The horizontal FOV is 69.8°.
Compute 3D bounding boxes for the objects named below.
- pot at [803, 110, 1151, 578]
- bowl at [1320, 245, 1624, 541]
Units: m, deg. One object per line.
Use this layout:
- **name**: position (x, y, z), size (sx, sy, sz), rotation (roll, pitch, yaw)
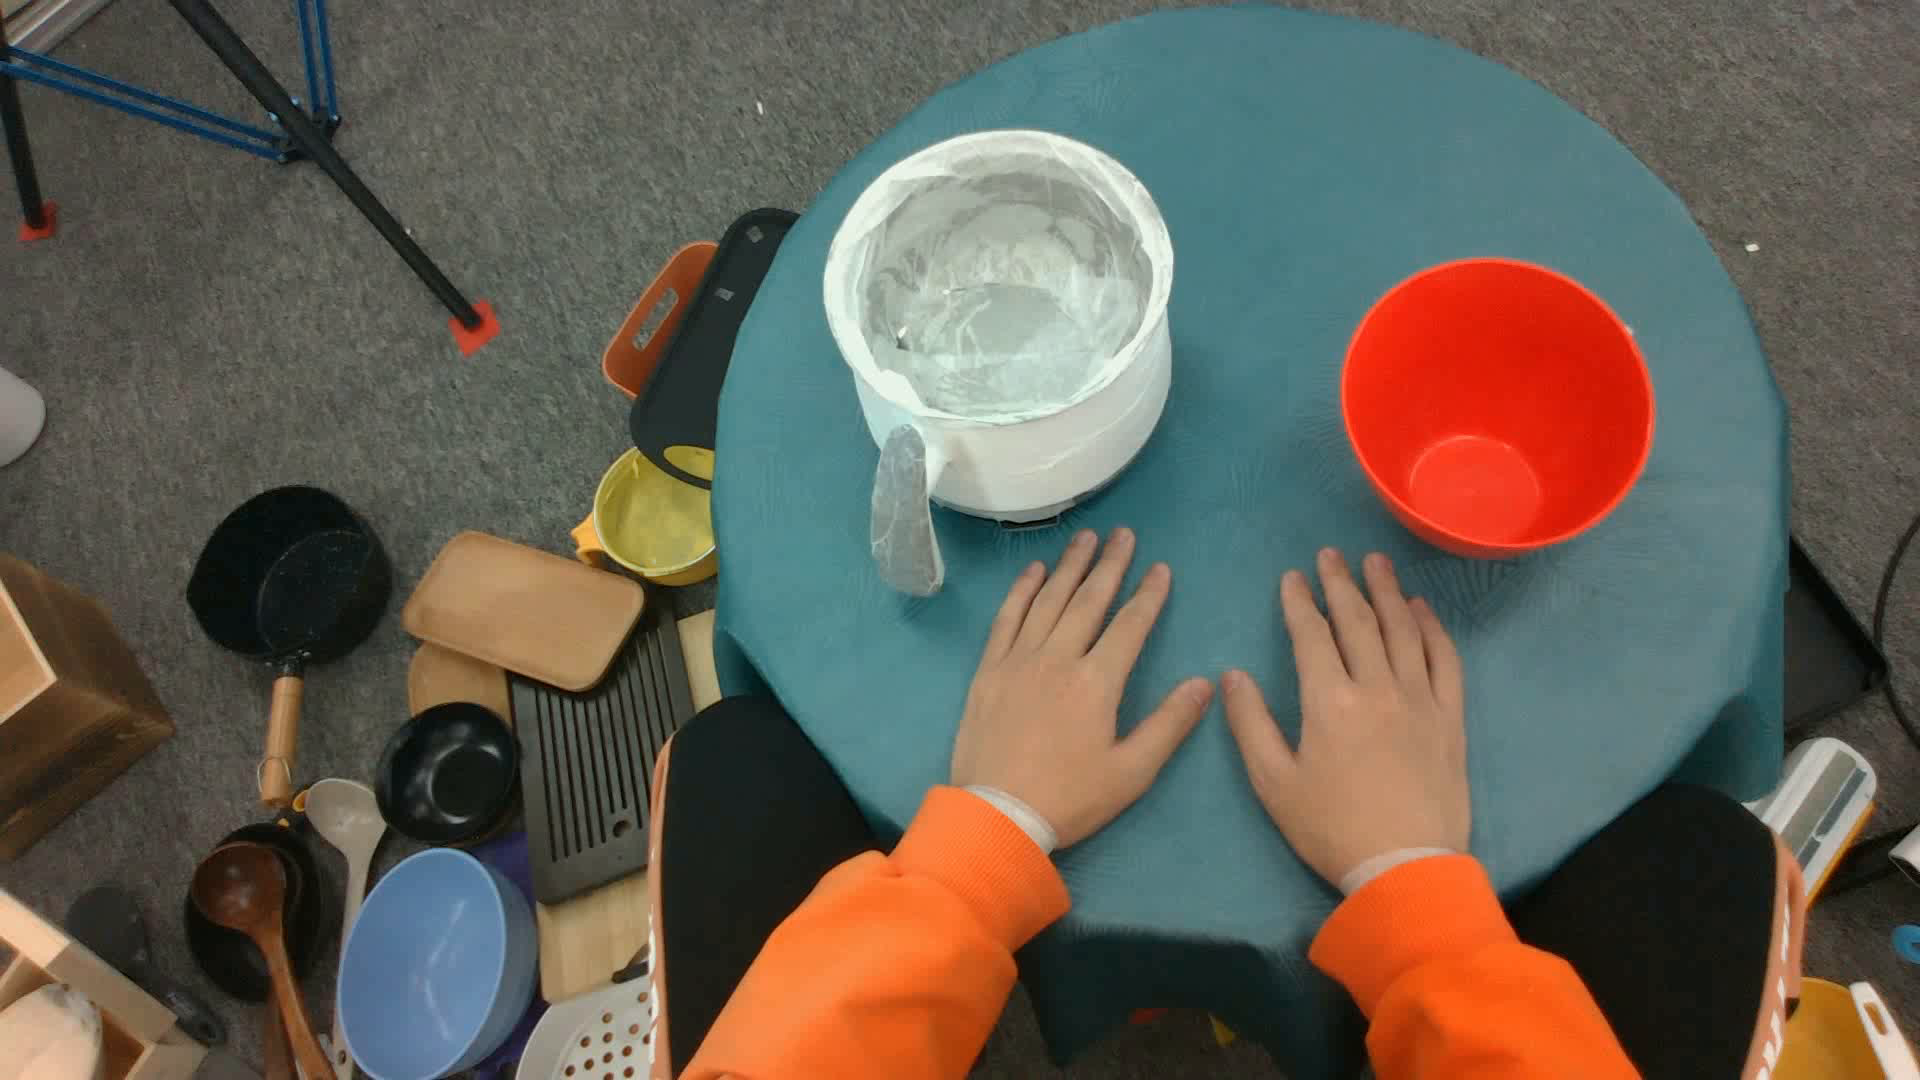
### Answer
- **pot**: position (0.004, -0.097, 0.740), size (0.178, 0.136, 0.234), rotation (19, 70, 16)
- **bowl**: position (0.257, -0.063, 0.717), size (0.148, 0.104, 0.148), rotation (-2, 69, 6)
